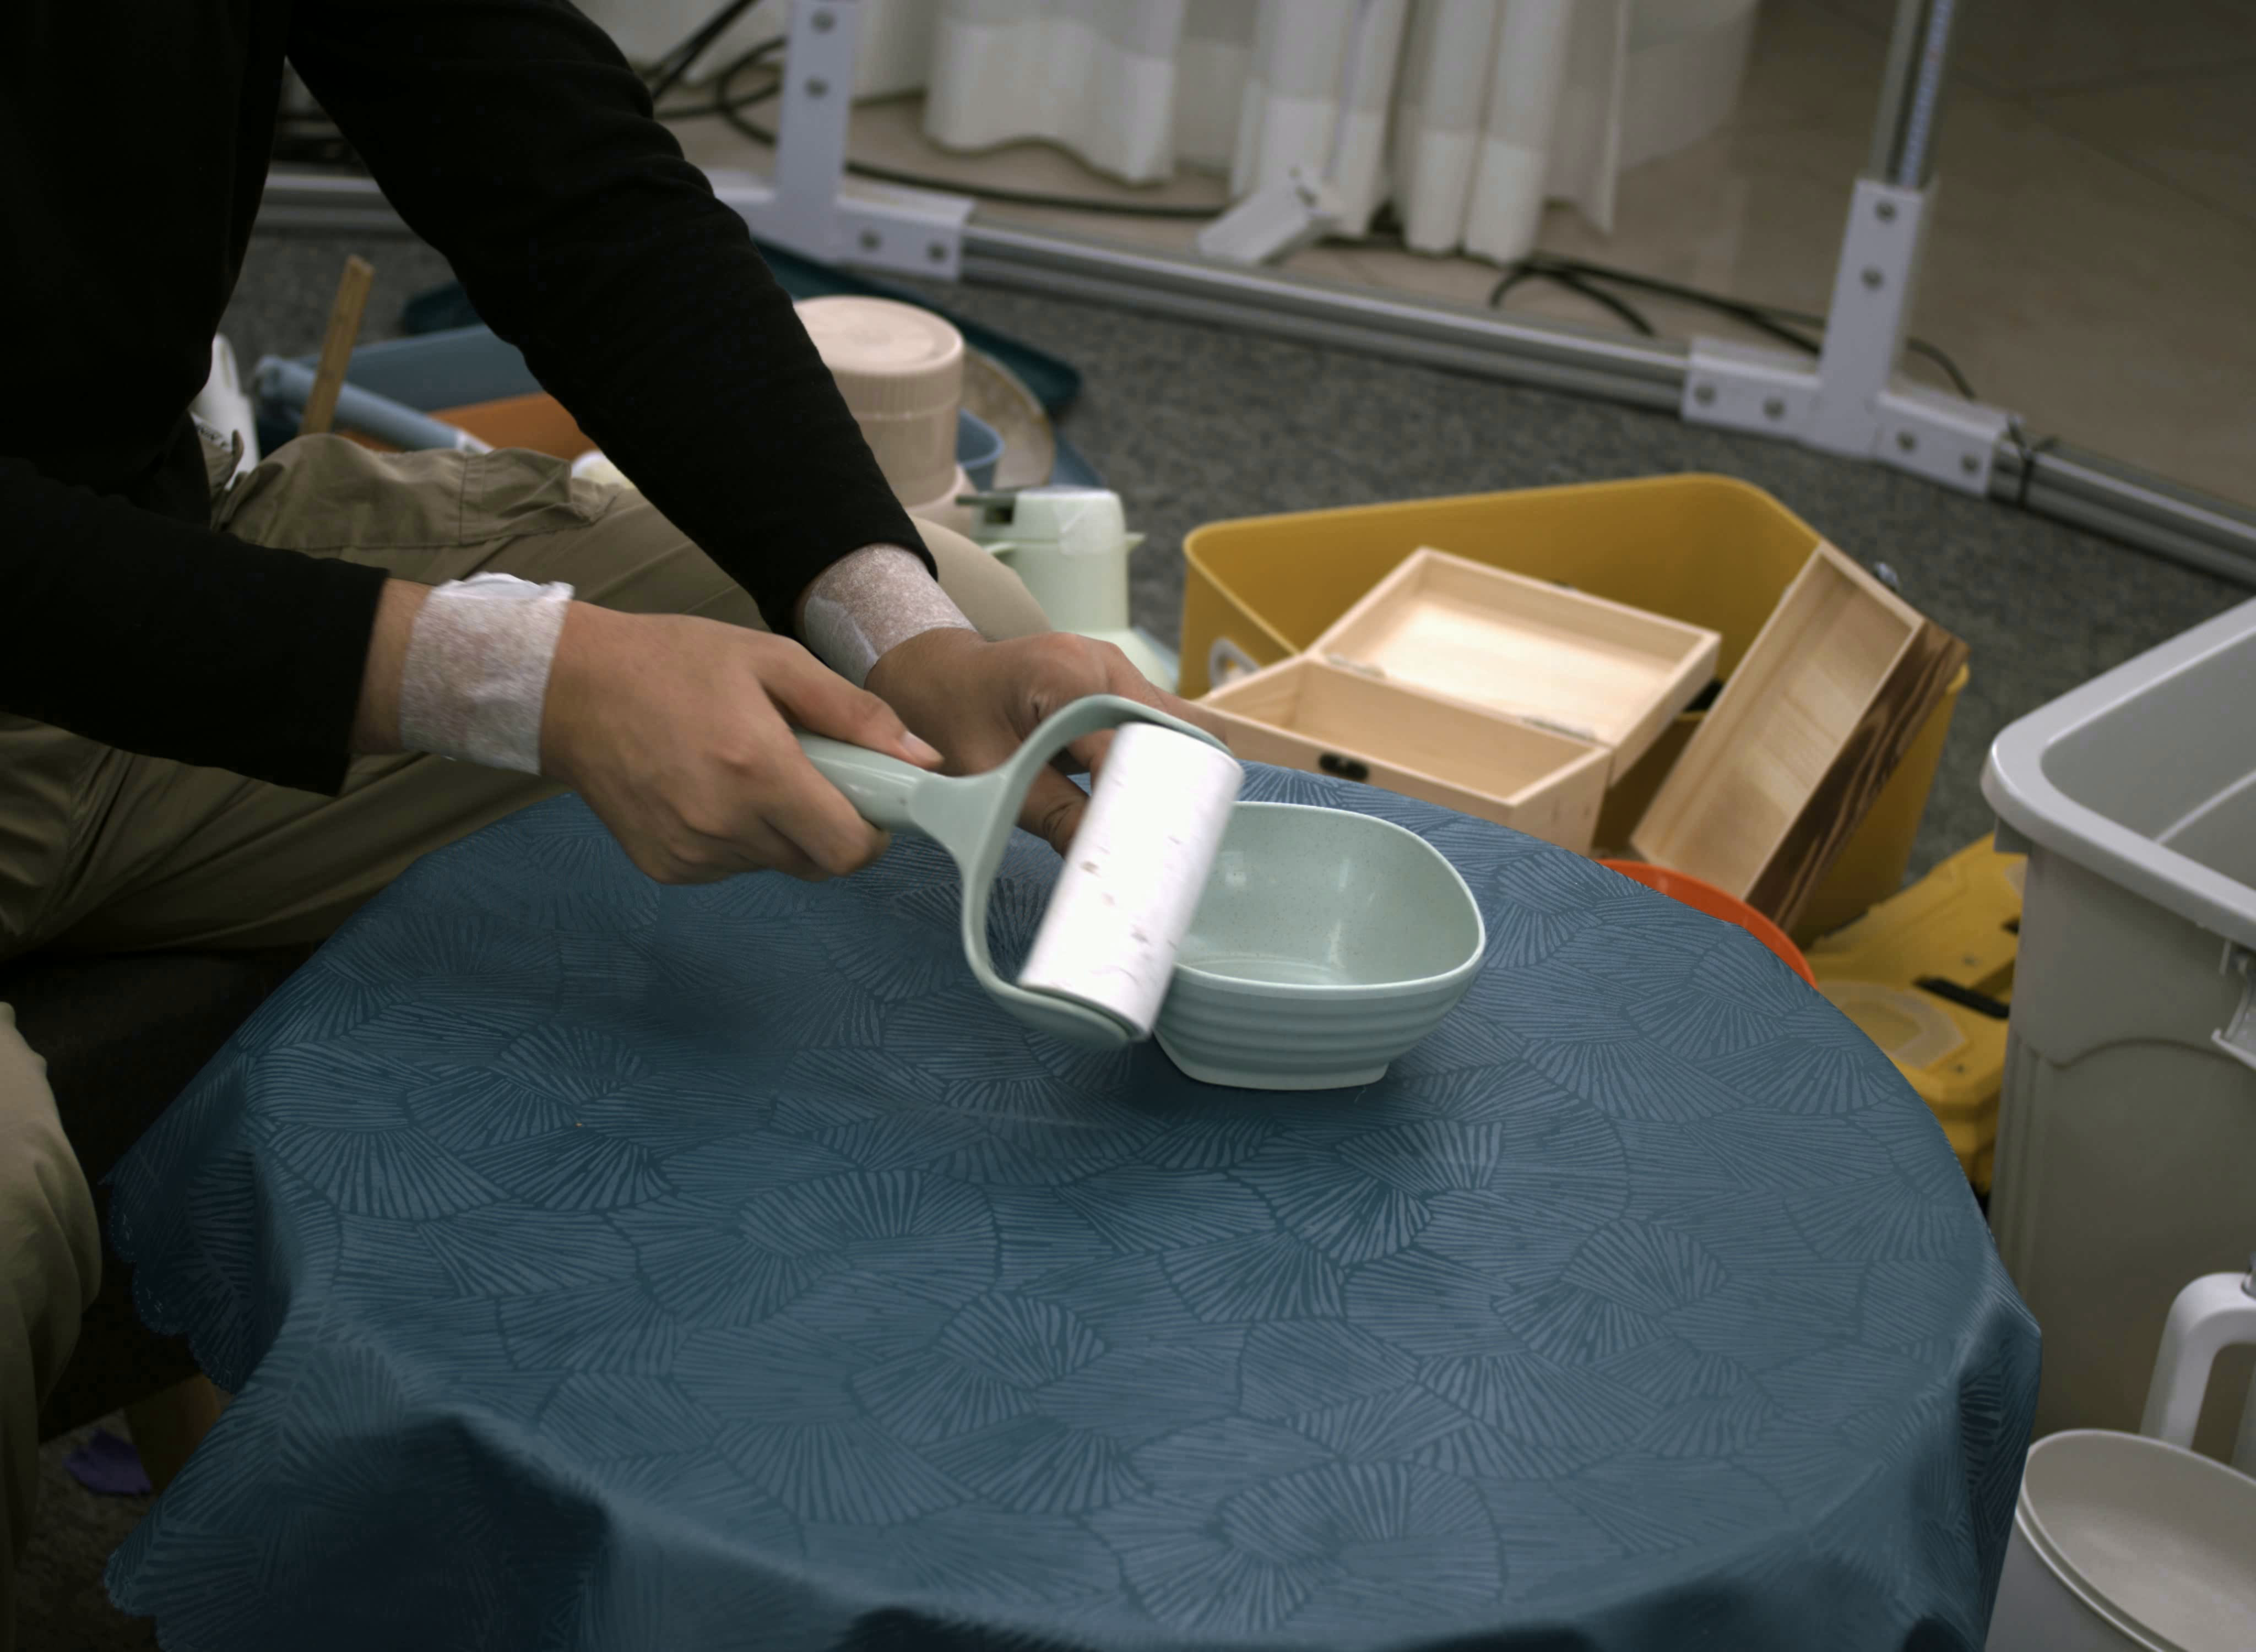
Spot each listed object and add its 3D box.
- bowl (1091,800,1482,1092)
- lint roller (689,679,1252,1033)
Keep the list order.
[{"bbox_3d":[0.052,0.049,1.897,0.151,0.058,0.152,7,27,-4],"label":"bowl"},{"bbox_3d":[-0.063,-0.008,1.839,0.198,0.117,0.048,17,-15,15],"label":"lint roller"}]
